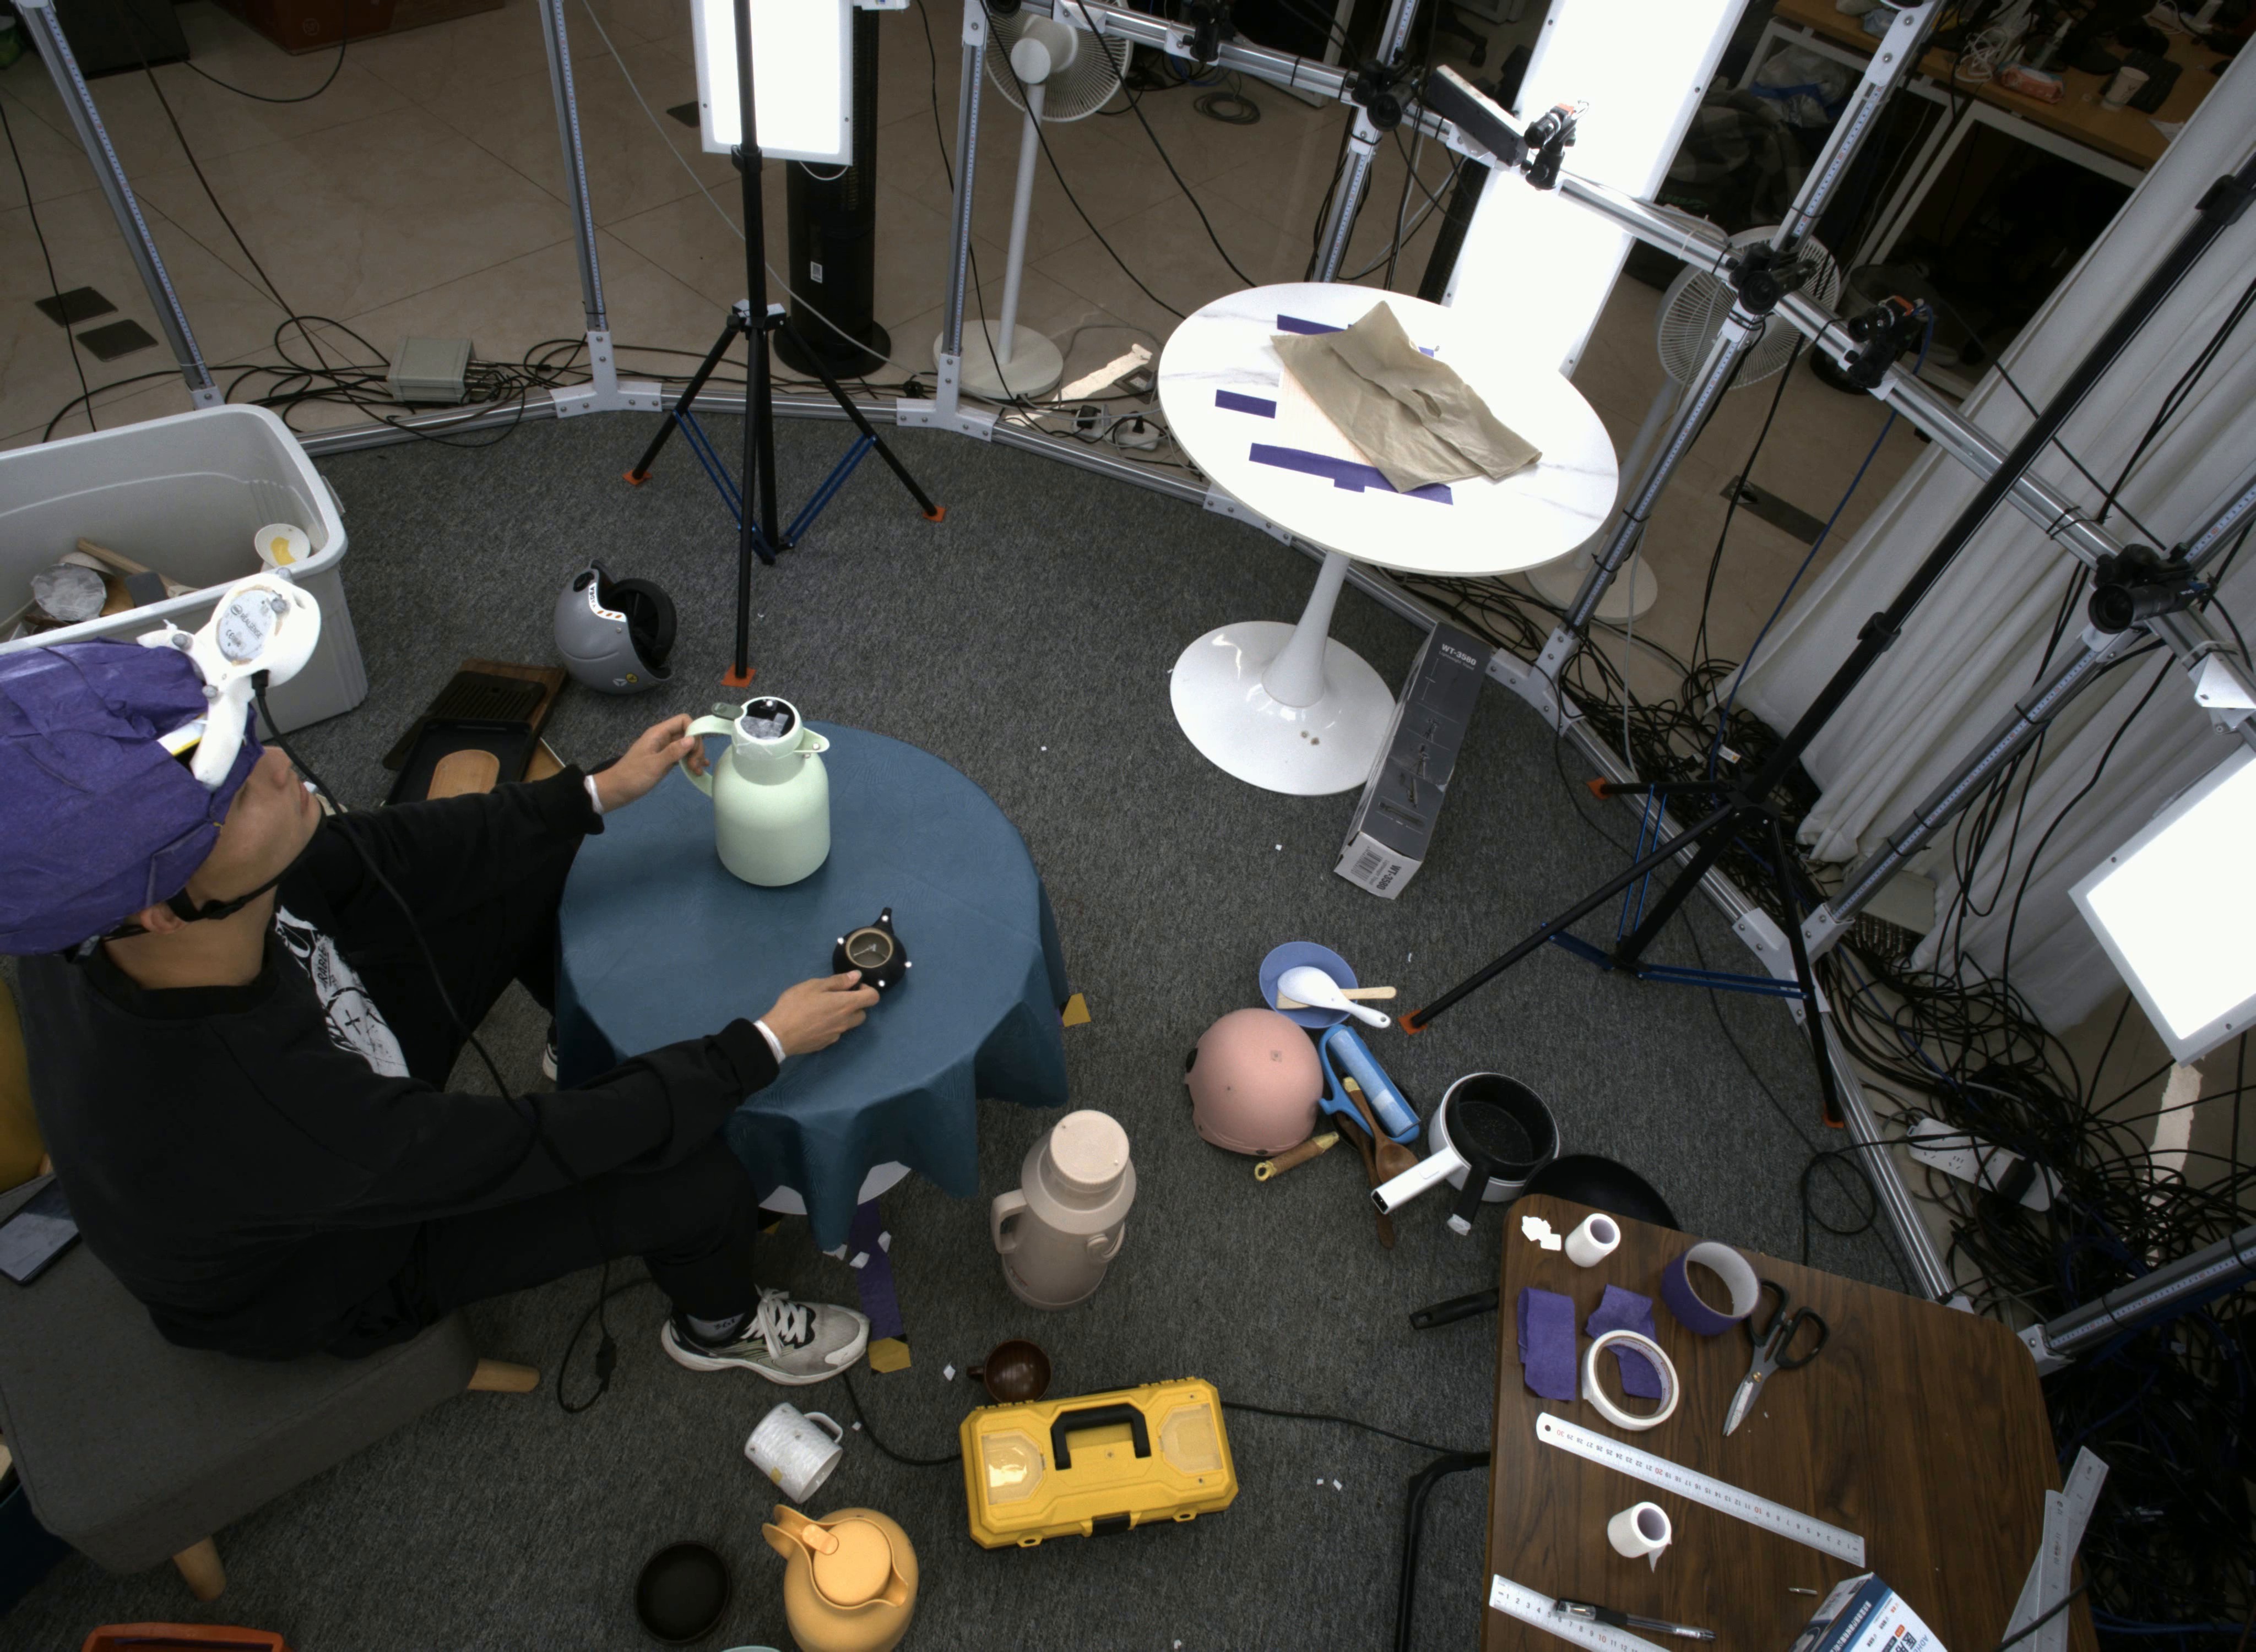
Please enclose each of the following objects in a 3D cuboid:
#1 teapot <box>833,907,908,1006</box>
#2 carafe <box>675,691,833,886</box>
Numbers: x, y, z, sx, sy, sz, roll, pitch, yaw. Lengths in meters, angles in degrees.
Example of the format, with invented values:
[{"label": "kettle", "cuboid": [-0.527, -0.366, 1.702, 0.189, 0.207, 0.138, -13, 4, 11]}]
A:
[{"label": "teapot", "cuboid": [-0.316, 0.162, 1.593, 0.090, 0.054, 0.131, 15, 51, 0]}, {"label": "carafe", "cuboid": [-0.456, -0.055, 1.592, 0.185, 0.263, 0.142, 9, 53, -2]}]
